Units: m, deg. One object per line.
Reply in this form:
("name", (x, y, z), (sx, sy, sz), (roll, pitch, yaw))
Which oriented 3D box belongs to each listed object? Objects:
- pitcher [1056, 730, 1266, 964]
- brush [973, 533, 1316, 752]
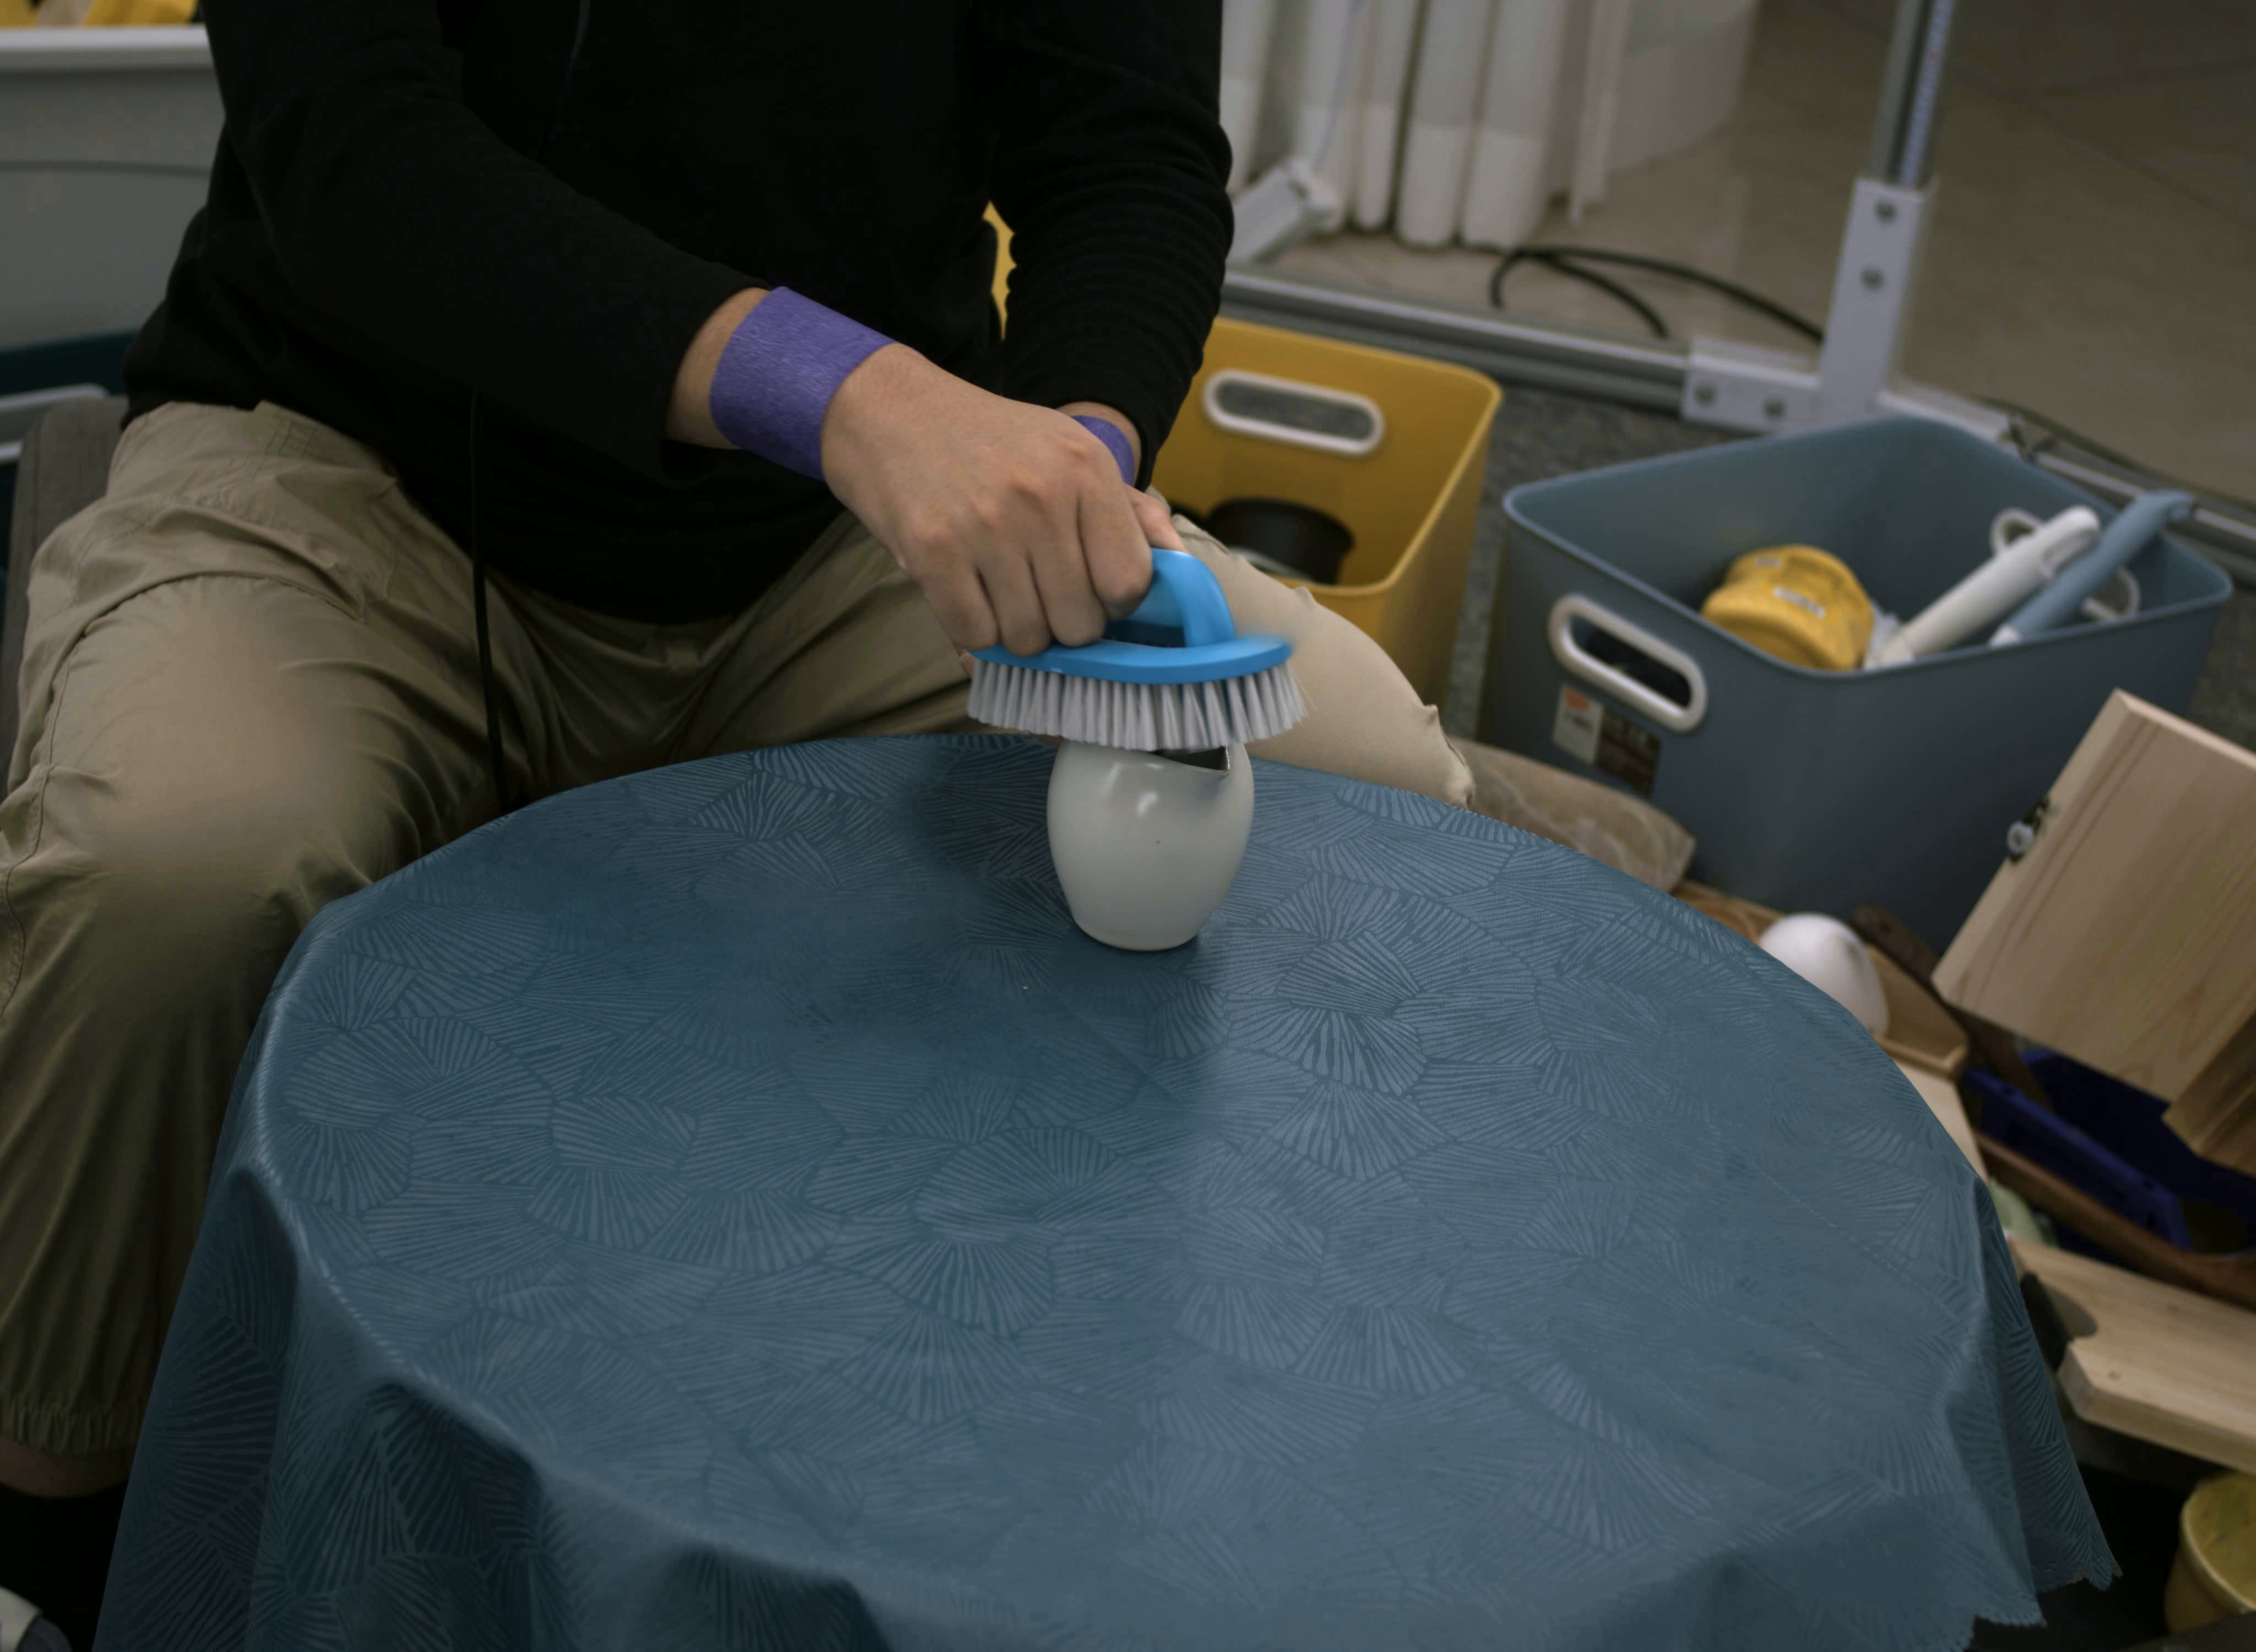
("pitcher", (0.008, -0.002, 1.953), (0.075, 0.087, 0.120), (0, 30, -25))
("brush", (0.002, -0.072, 1.917), (0.084, 0.063, 0.142), (-22, 21, -38))
